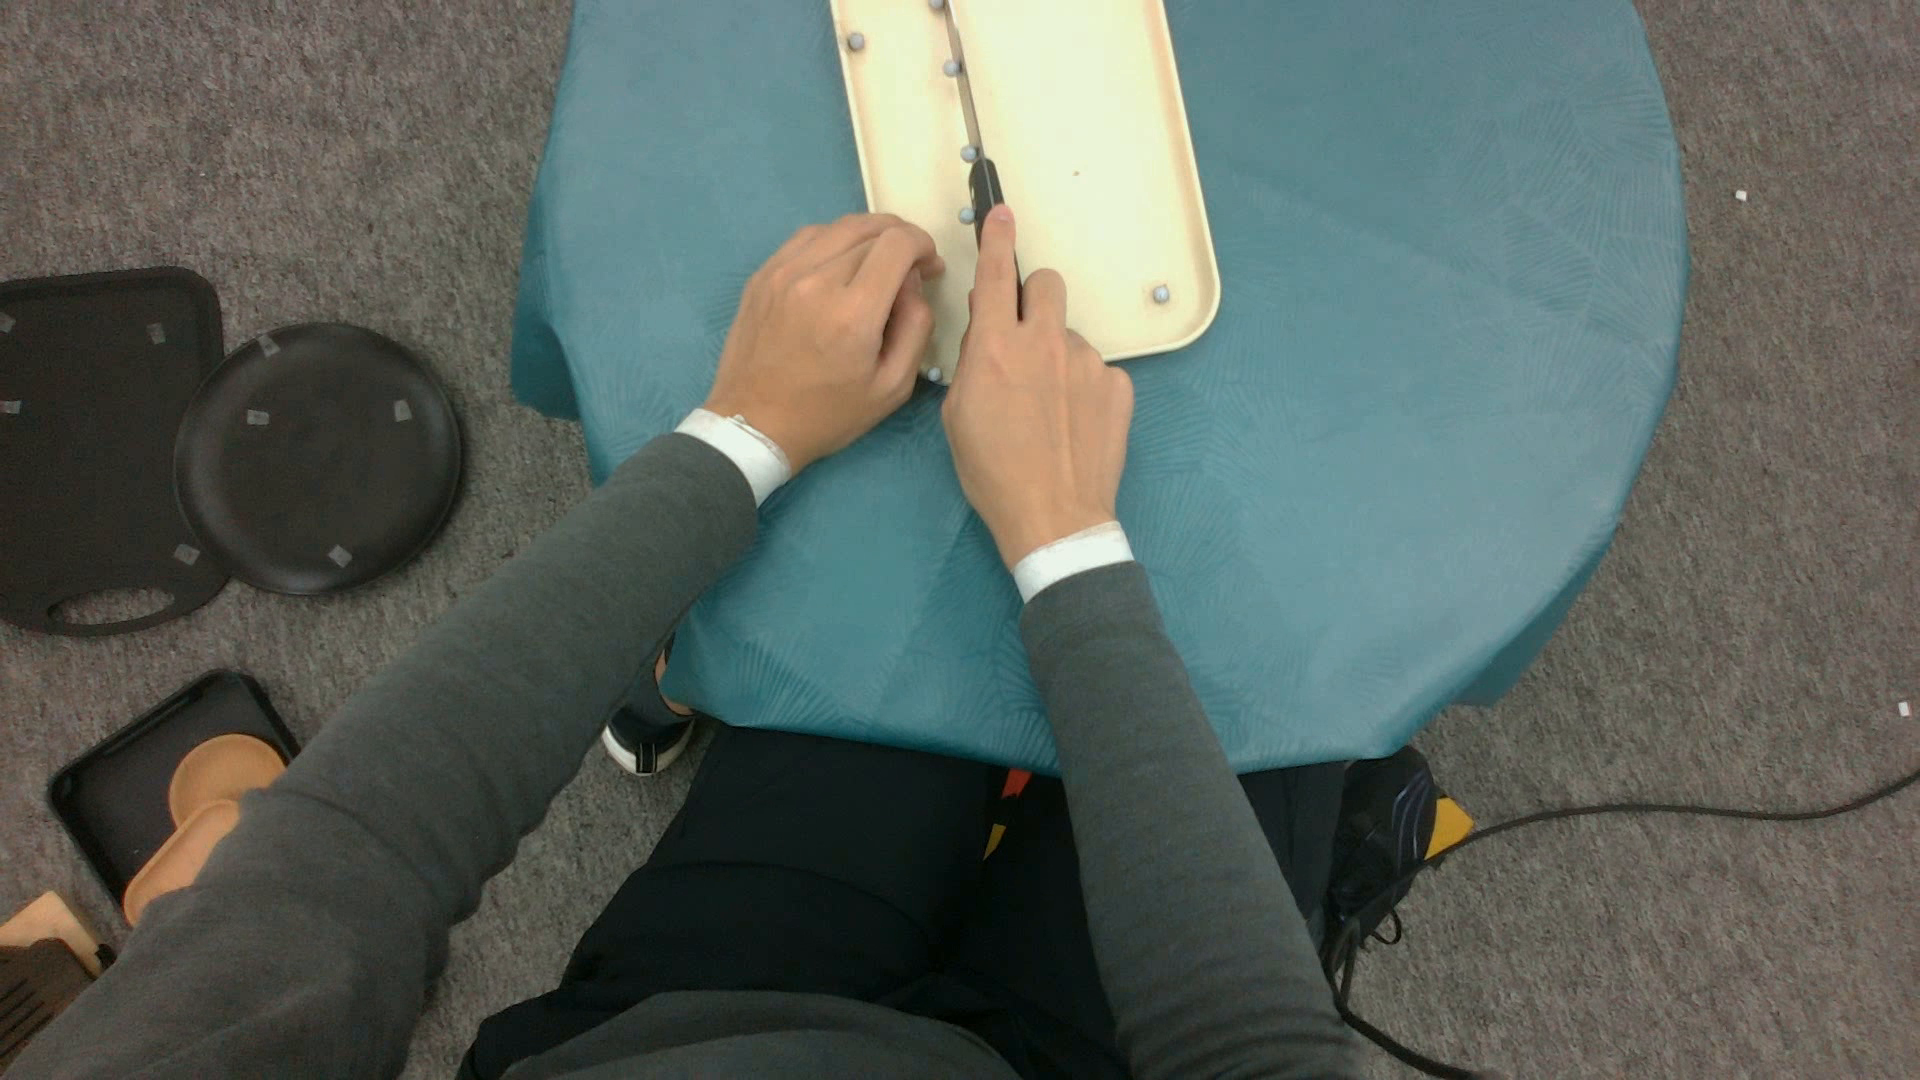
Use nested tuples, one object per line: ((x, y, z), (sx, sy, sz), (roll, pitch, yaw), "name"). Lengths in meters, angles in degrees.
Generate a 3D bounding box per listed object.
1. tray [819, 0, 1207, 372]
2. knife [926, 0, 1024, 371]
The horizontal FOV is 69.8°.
((0.026, -0.208, 0.710), (0.171, 0.017, 0.240), (-10, 83, -7), "tray")
((0.002, -0.195, 0.690), (0.016, 0.024, 0.238), (-8, 73, -11), "knife")
